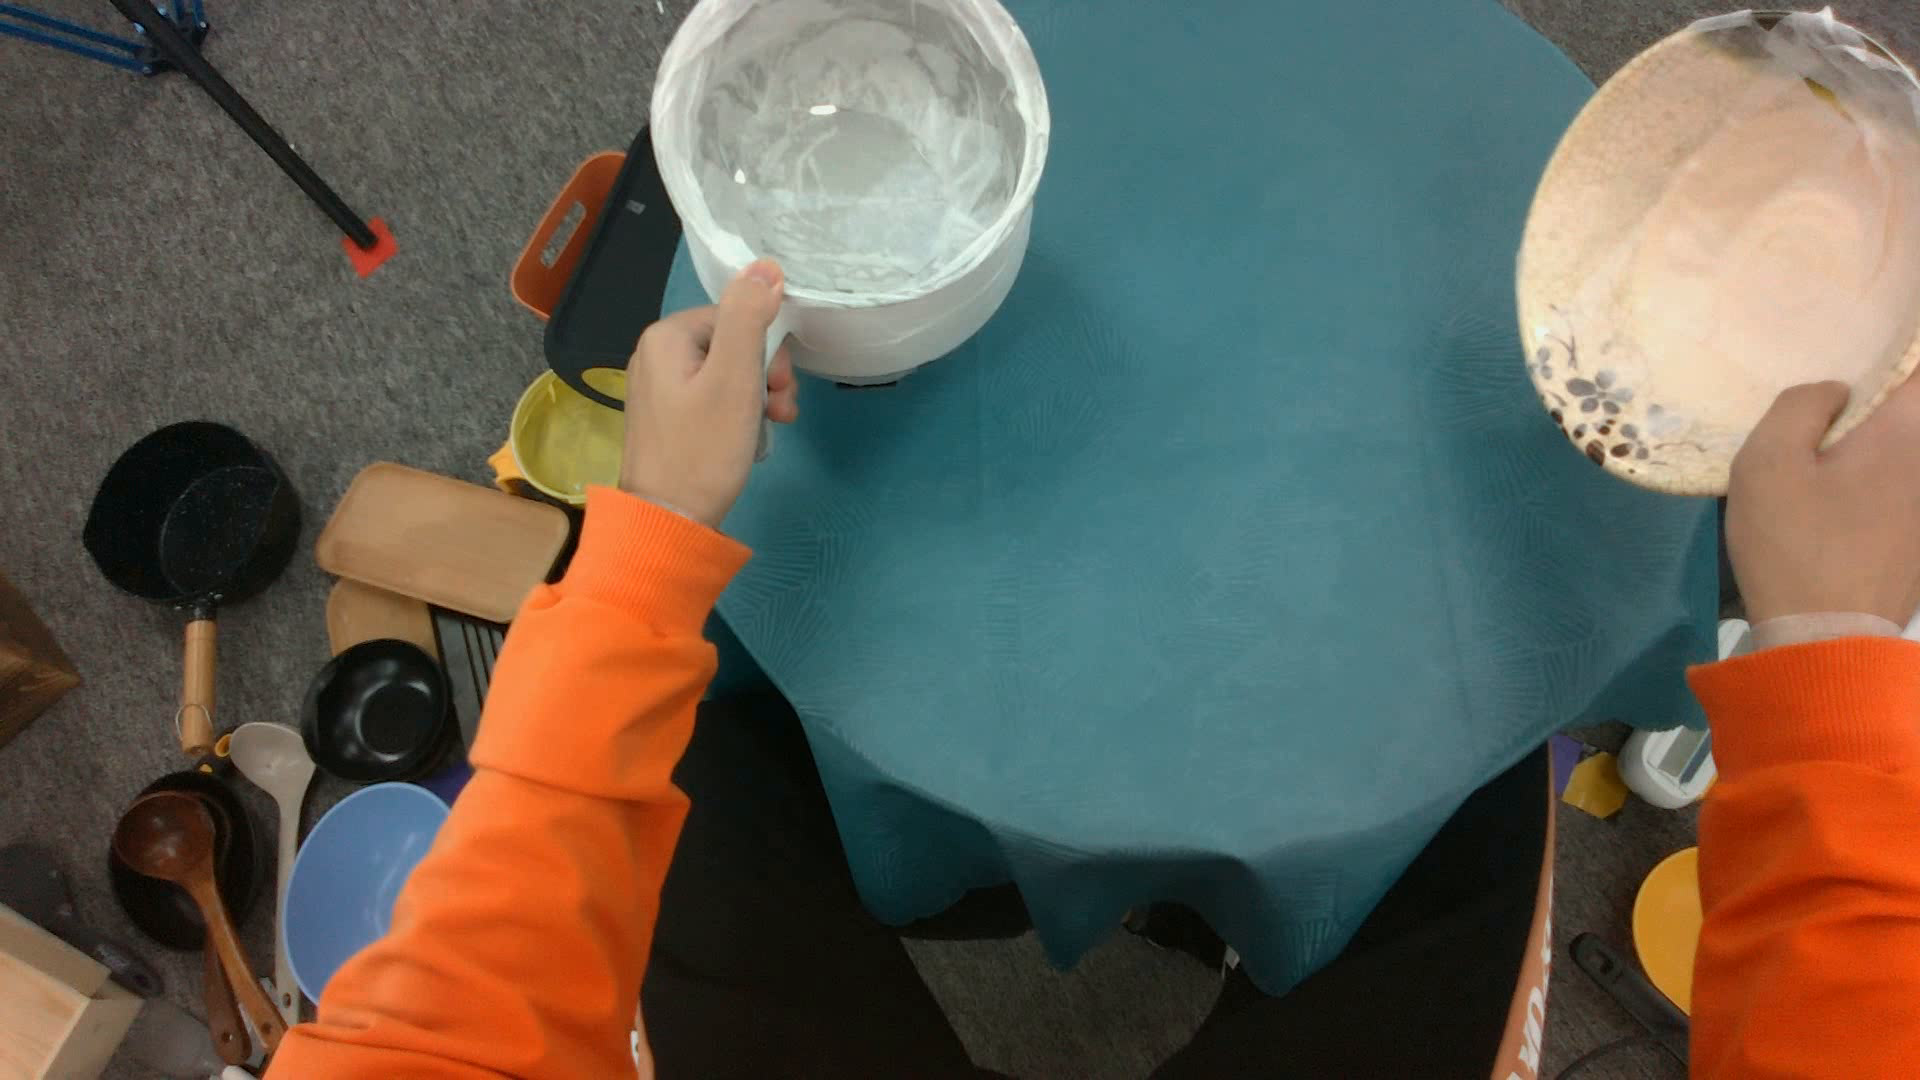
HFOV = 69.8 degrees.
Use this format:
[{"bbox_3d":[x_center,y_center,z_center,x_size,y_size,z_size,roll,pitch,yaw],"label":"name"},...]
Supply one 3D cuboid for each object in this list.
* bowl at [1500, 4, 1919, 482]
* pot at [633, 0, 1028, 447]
[{"bbox_3d":[0.347,-0.129,0.618,0.078,0.203,0.204,-4,69,-25],"label":"bowl"},{"bbox_3d":[-0.072,-0.159,0.671,0.179,0.136,0.234,24,78,1],"label":"pot"}]
